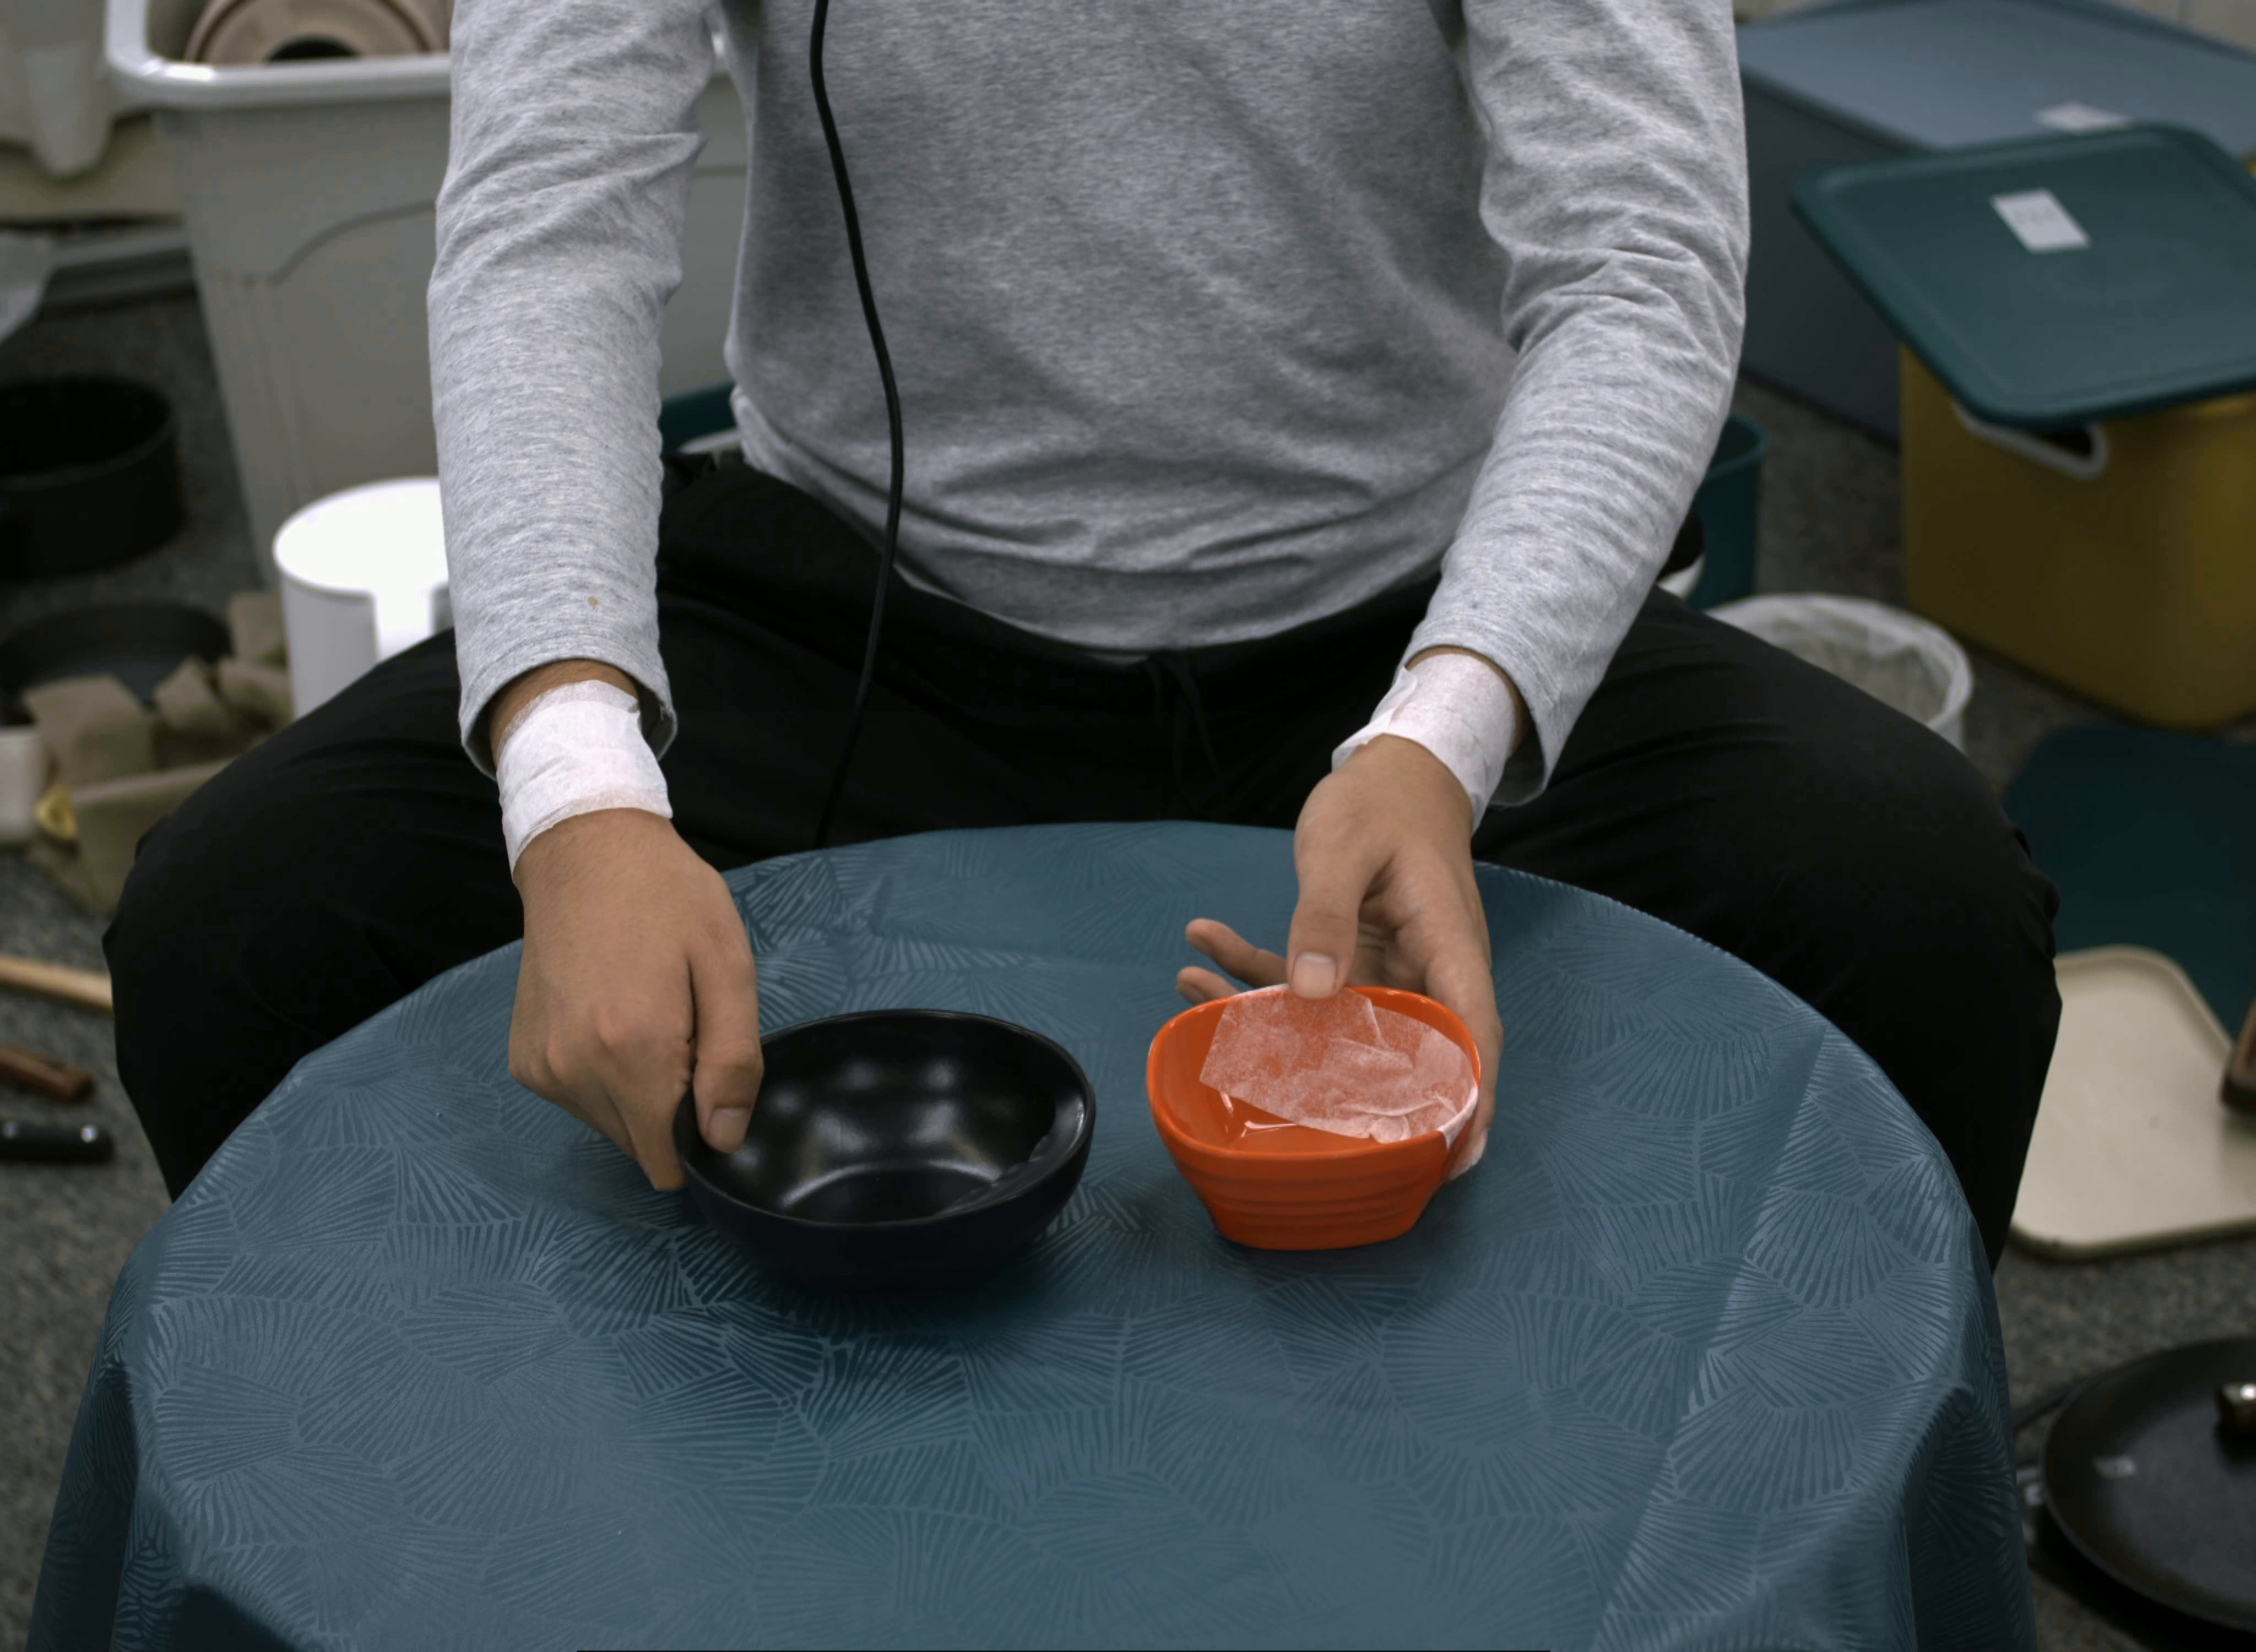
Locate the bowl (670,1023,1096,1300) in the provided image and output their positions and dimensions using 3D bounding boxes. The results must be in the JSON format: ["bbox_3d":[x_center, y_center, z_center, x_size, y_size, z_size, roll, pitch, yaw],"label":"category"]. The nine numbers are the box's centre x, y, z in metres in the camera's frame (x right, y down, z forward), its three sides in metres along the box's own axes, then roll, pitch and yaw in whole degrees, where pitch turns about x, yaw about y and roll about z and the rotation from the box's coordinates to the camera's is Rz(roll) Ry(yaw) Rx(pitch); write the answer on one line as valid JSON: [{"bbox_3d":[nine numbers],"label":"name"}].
[{"bbox_3d":[-0.079,0.117,1.831,0.139,0.049,0.142,-1,23,1],"label":"bowl"}]

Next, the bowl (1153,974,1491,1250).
[{"bbox_3d":[0.064,0.099,1.840,0.118,0.051,0.121,-3,30,2],"label":"bowl"}]
